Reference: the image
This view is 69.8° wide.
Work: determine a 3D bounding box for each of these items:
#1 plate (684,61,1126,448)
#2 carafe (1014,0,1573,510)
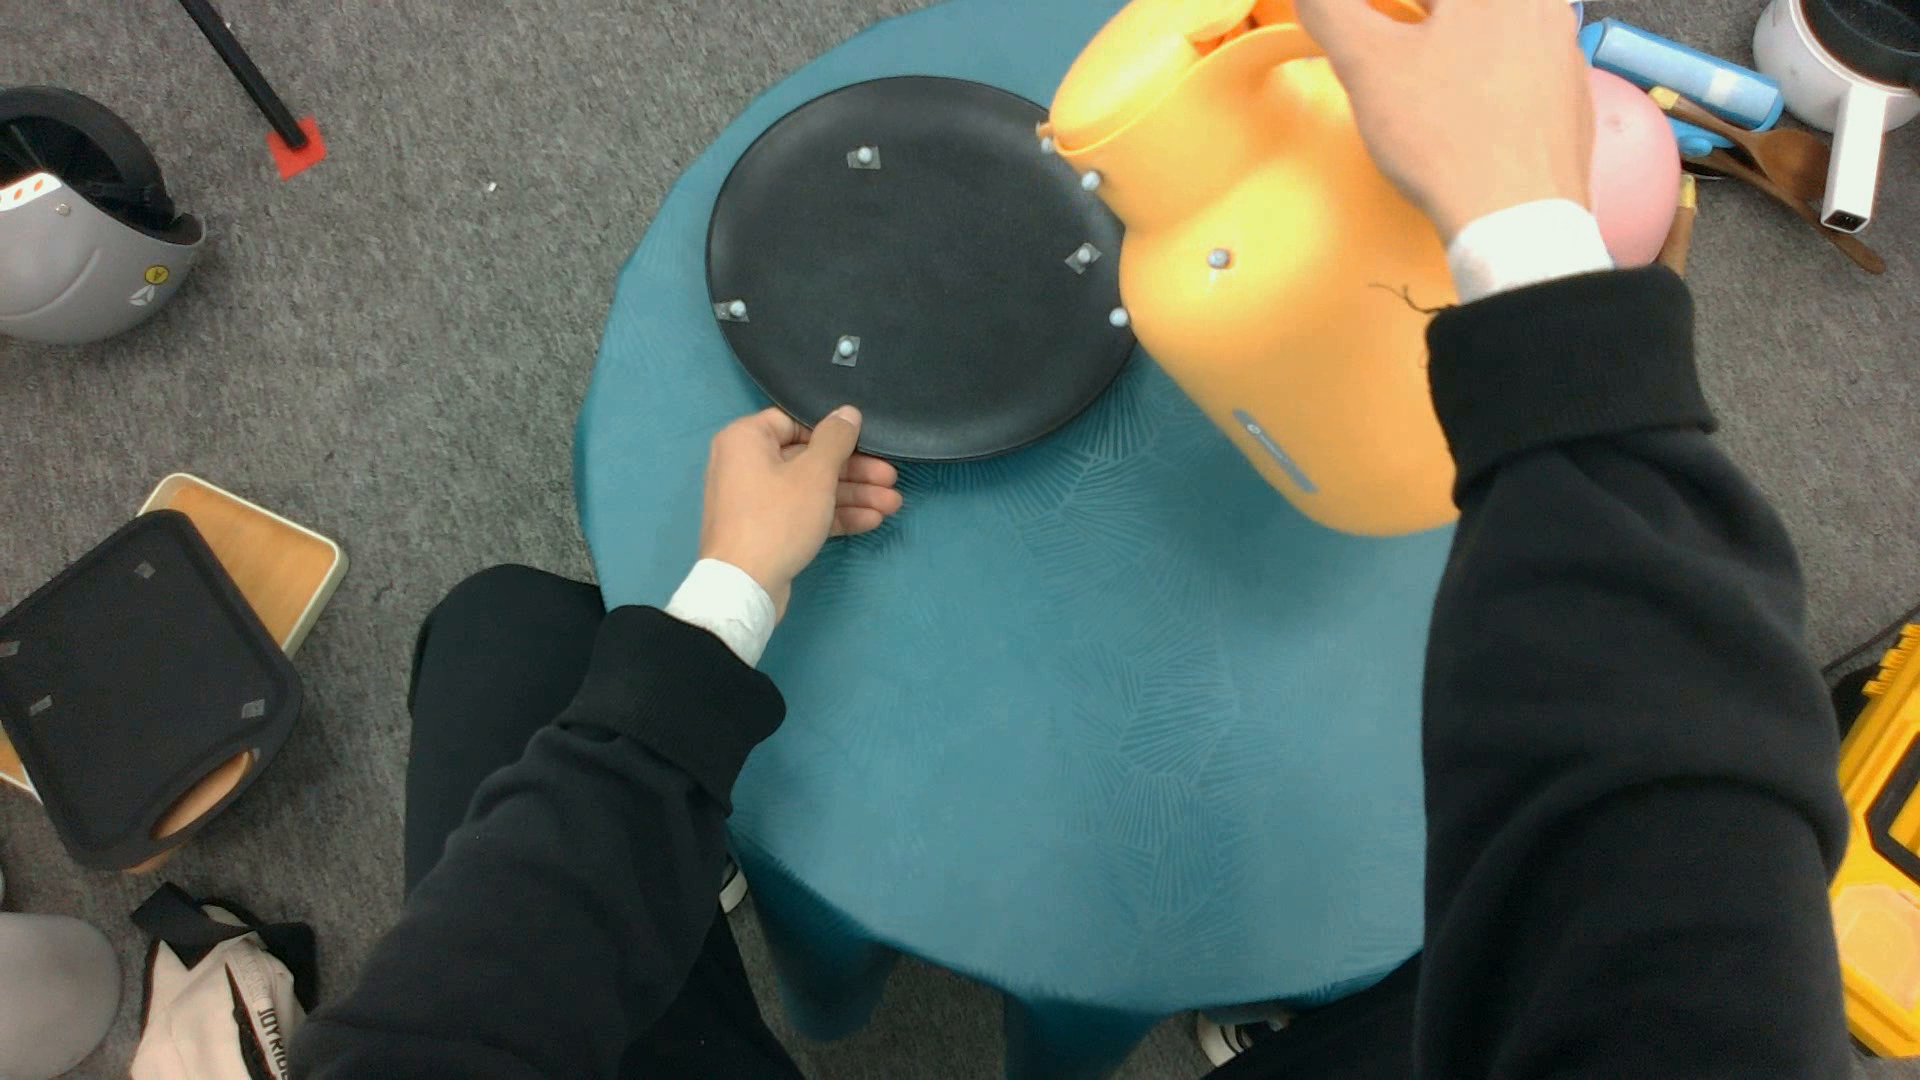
[{"bbox_3d":[-0.028,-0.158,0.758,0.244,0.023,0.245,2,69,-5],"label":"plate"},{"bbox_3d":[0.154,-0.137,0.600,0.260,0.202,0.164,37,74,-27],"label":"carafe"}]
